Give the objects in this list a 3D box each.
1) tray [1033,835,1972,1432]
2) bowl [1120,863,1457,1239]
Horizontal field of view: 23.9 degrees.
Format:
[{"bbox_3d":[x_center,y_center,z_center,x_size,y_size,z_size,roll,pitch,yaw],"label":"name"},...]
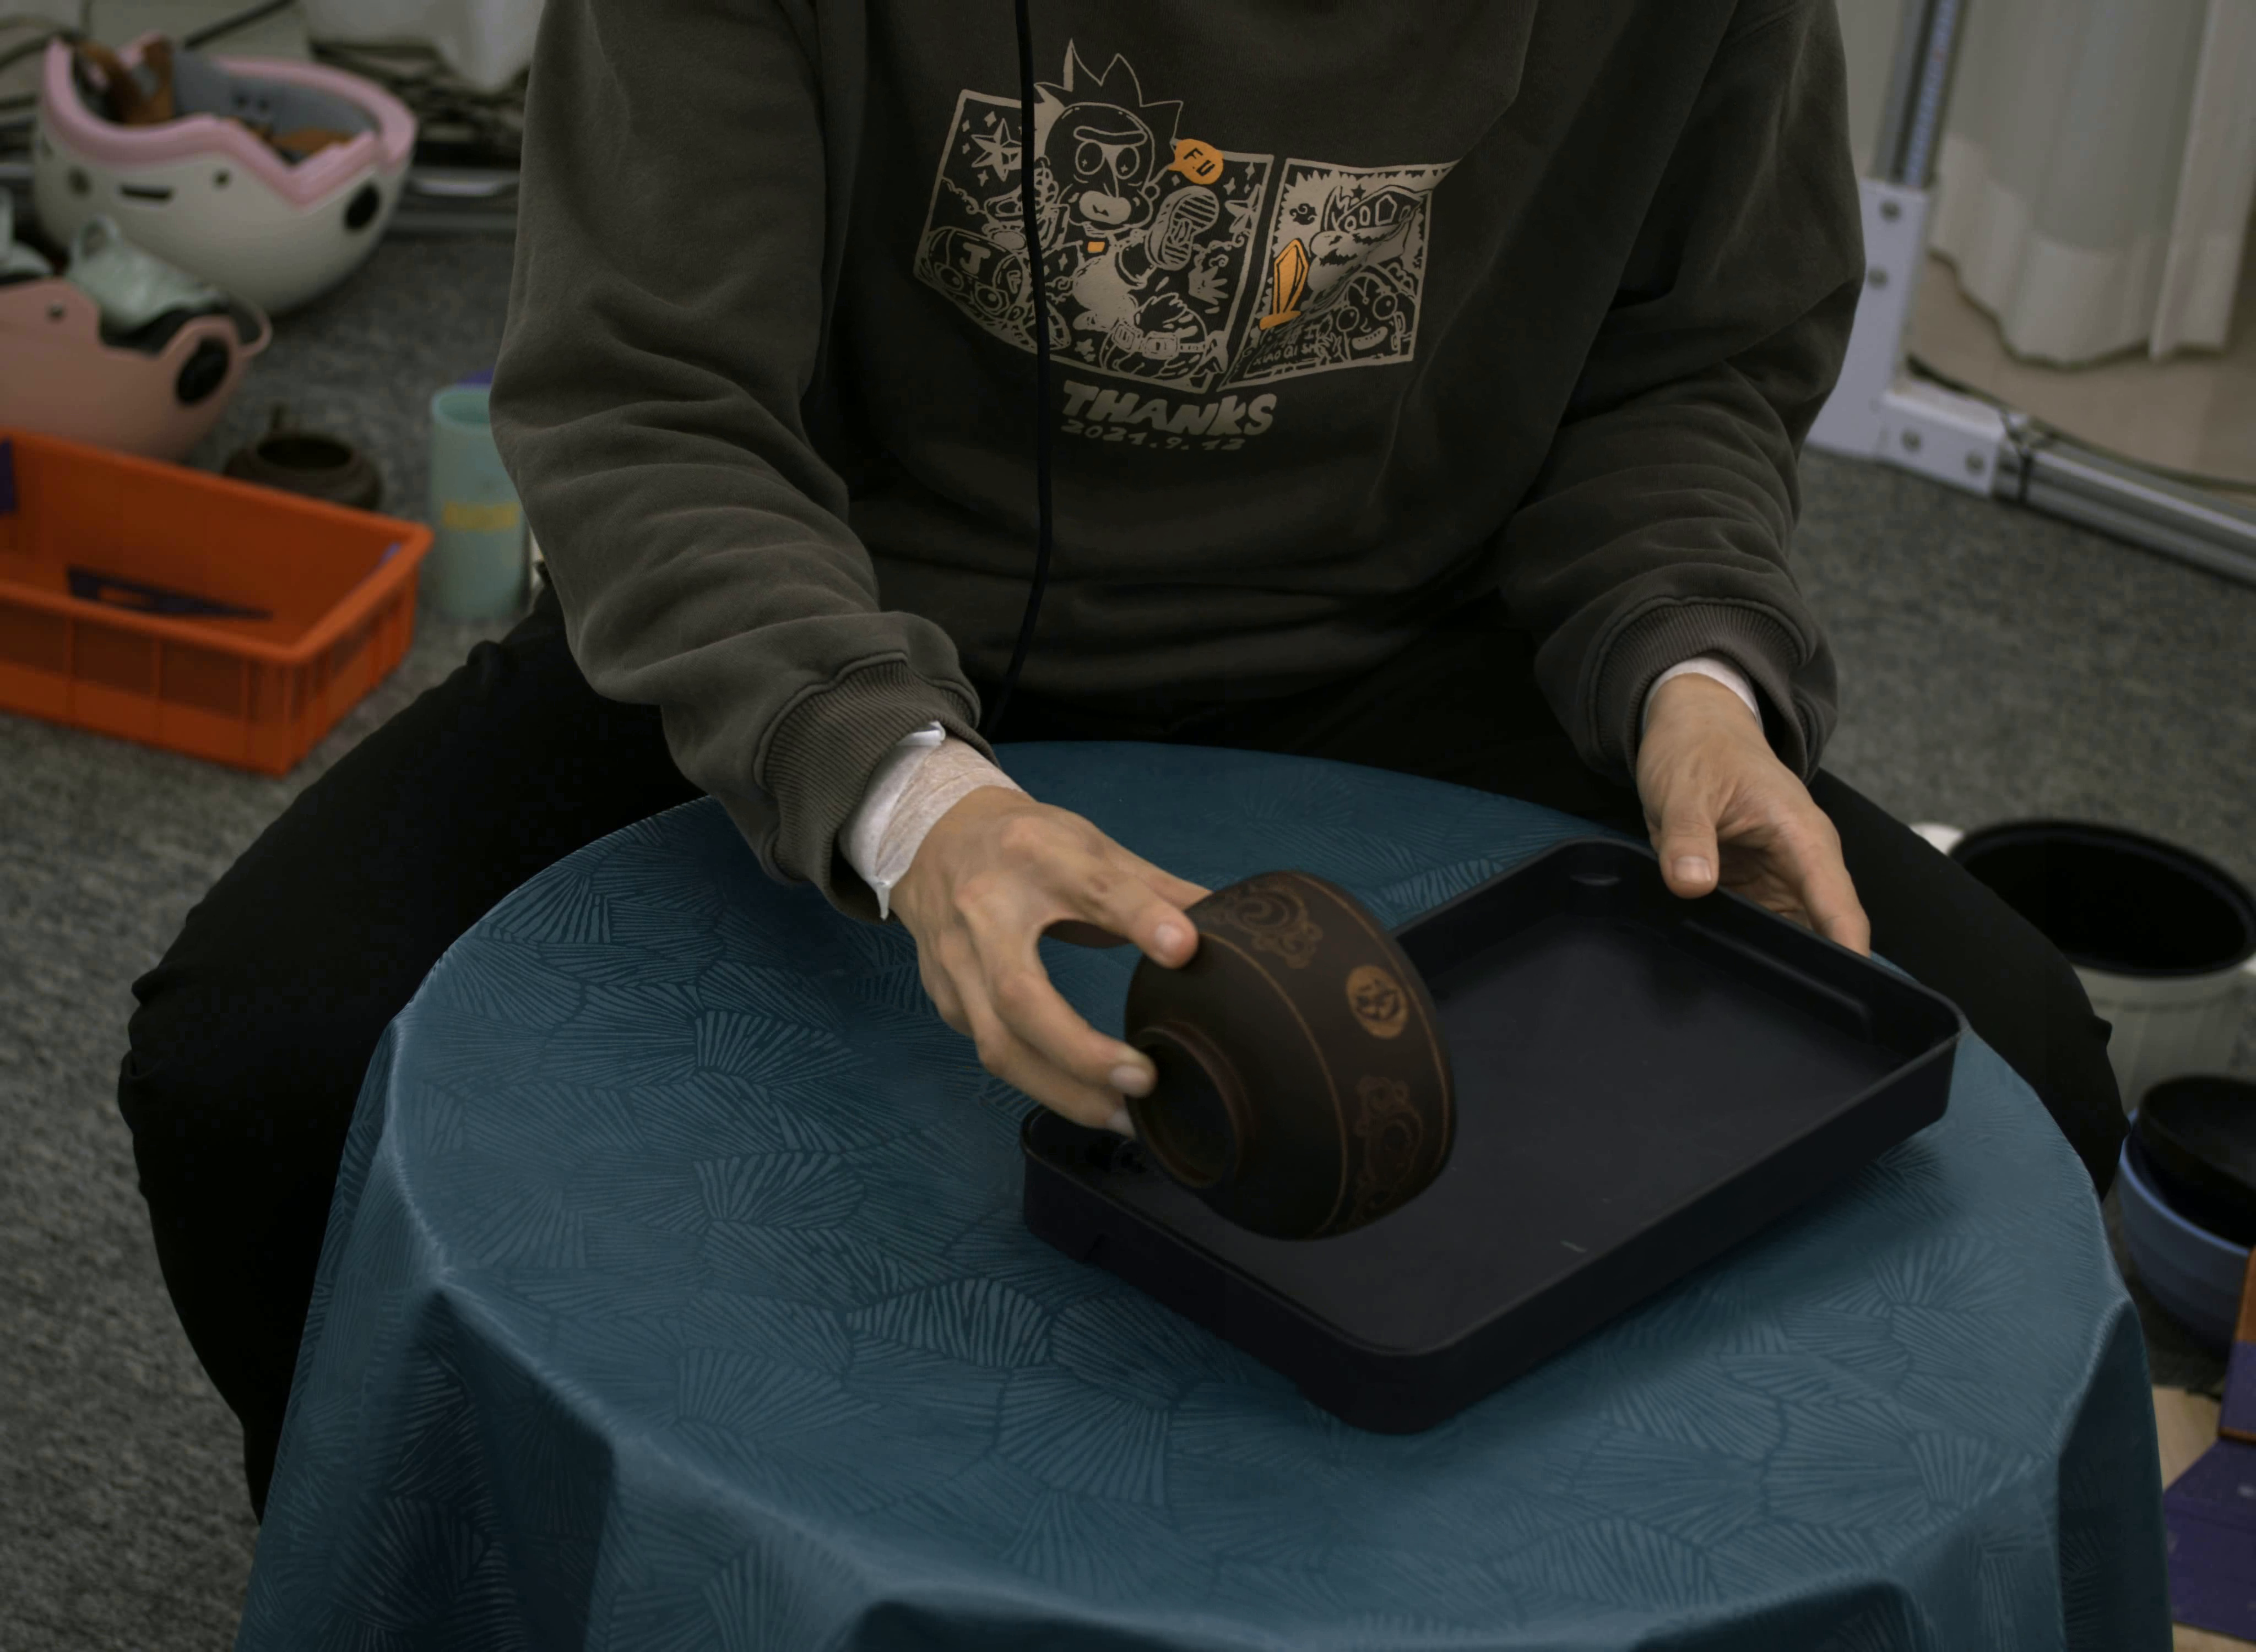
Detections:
[{"bbox_3d":[0.131,0.098,1.824,0.185,0.037,0.317,26,36,35],"label":"tray"},{"bbox_3d":[0.041,0.077,1.687,0.069,0.117,0.119,-24,39,-34],"label":"bowl"}]
